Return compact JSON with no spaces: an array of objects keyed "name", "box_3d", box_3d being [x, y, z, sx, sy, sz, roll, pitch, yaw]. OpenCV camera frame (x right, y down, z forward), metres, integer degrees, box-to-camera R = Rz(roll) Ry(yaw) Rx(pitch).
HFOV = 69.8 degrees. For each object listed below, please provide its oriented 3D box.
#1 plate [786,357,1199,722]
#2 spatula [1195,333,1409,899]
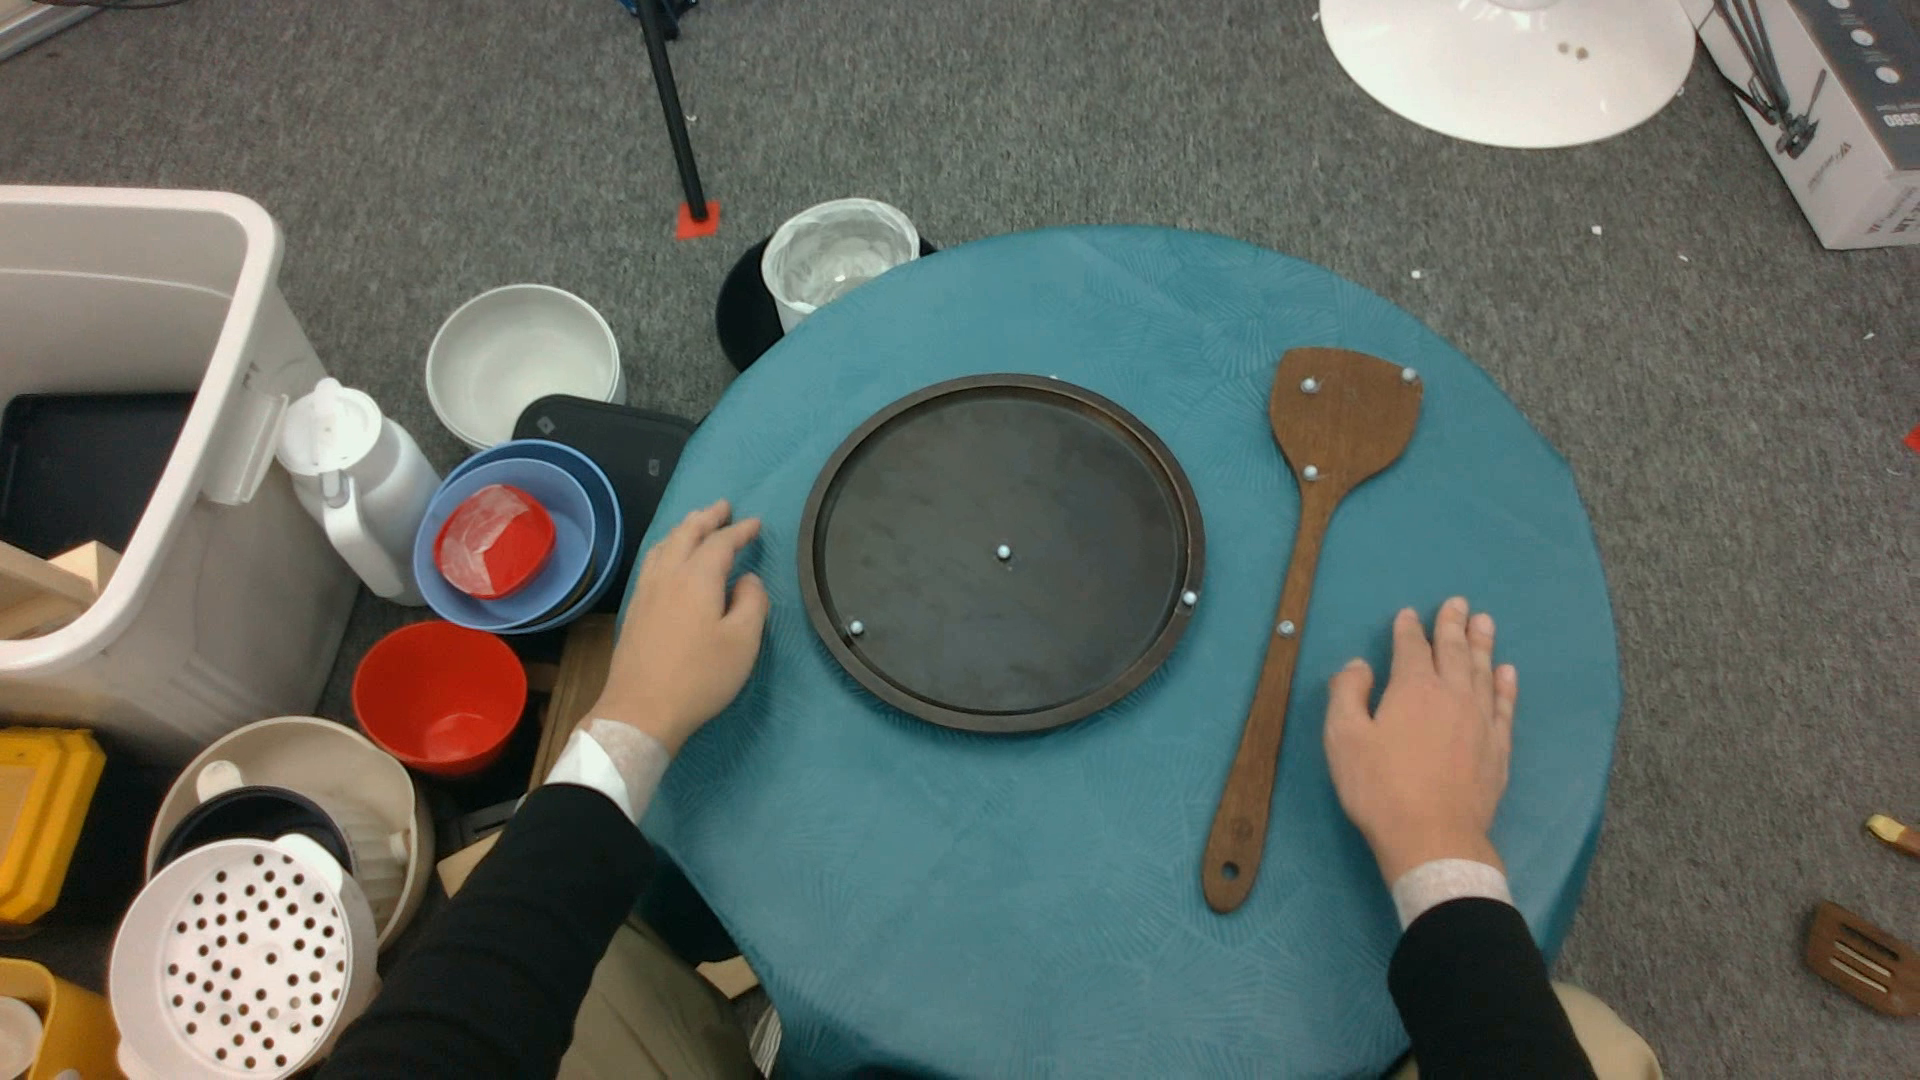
[{"name":"plate","box_3d":[0.019,-0.006,0.852,0.255,0.029,0.256,0,62,0]},{"name":"spatula","box_3d":[0.196,0.030,0.833,0.096,0.016,0.387,15,63,10]}]
